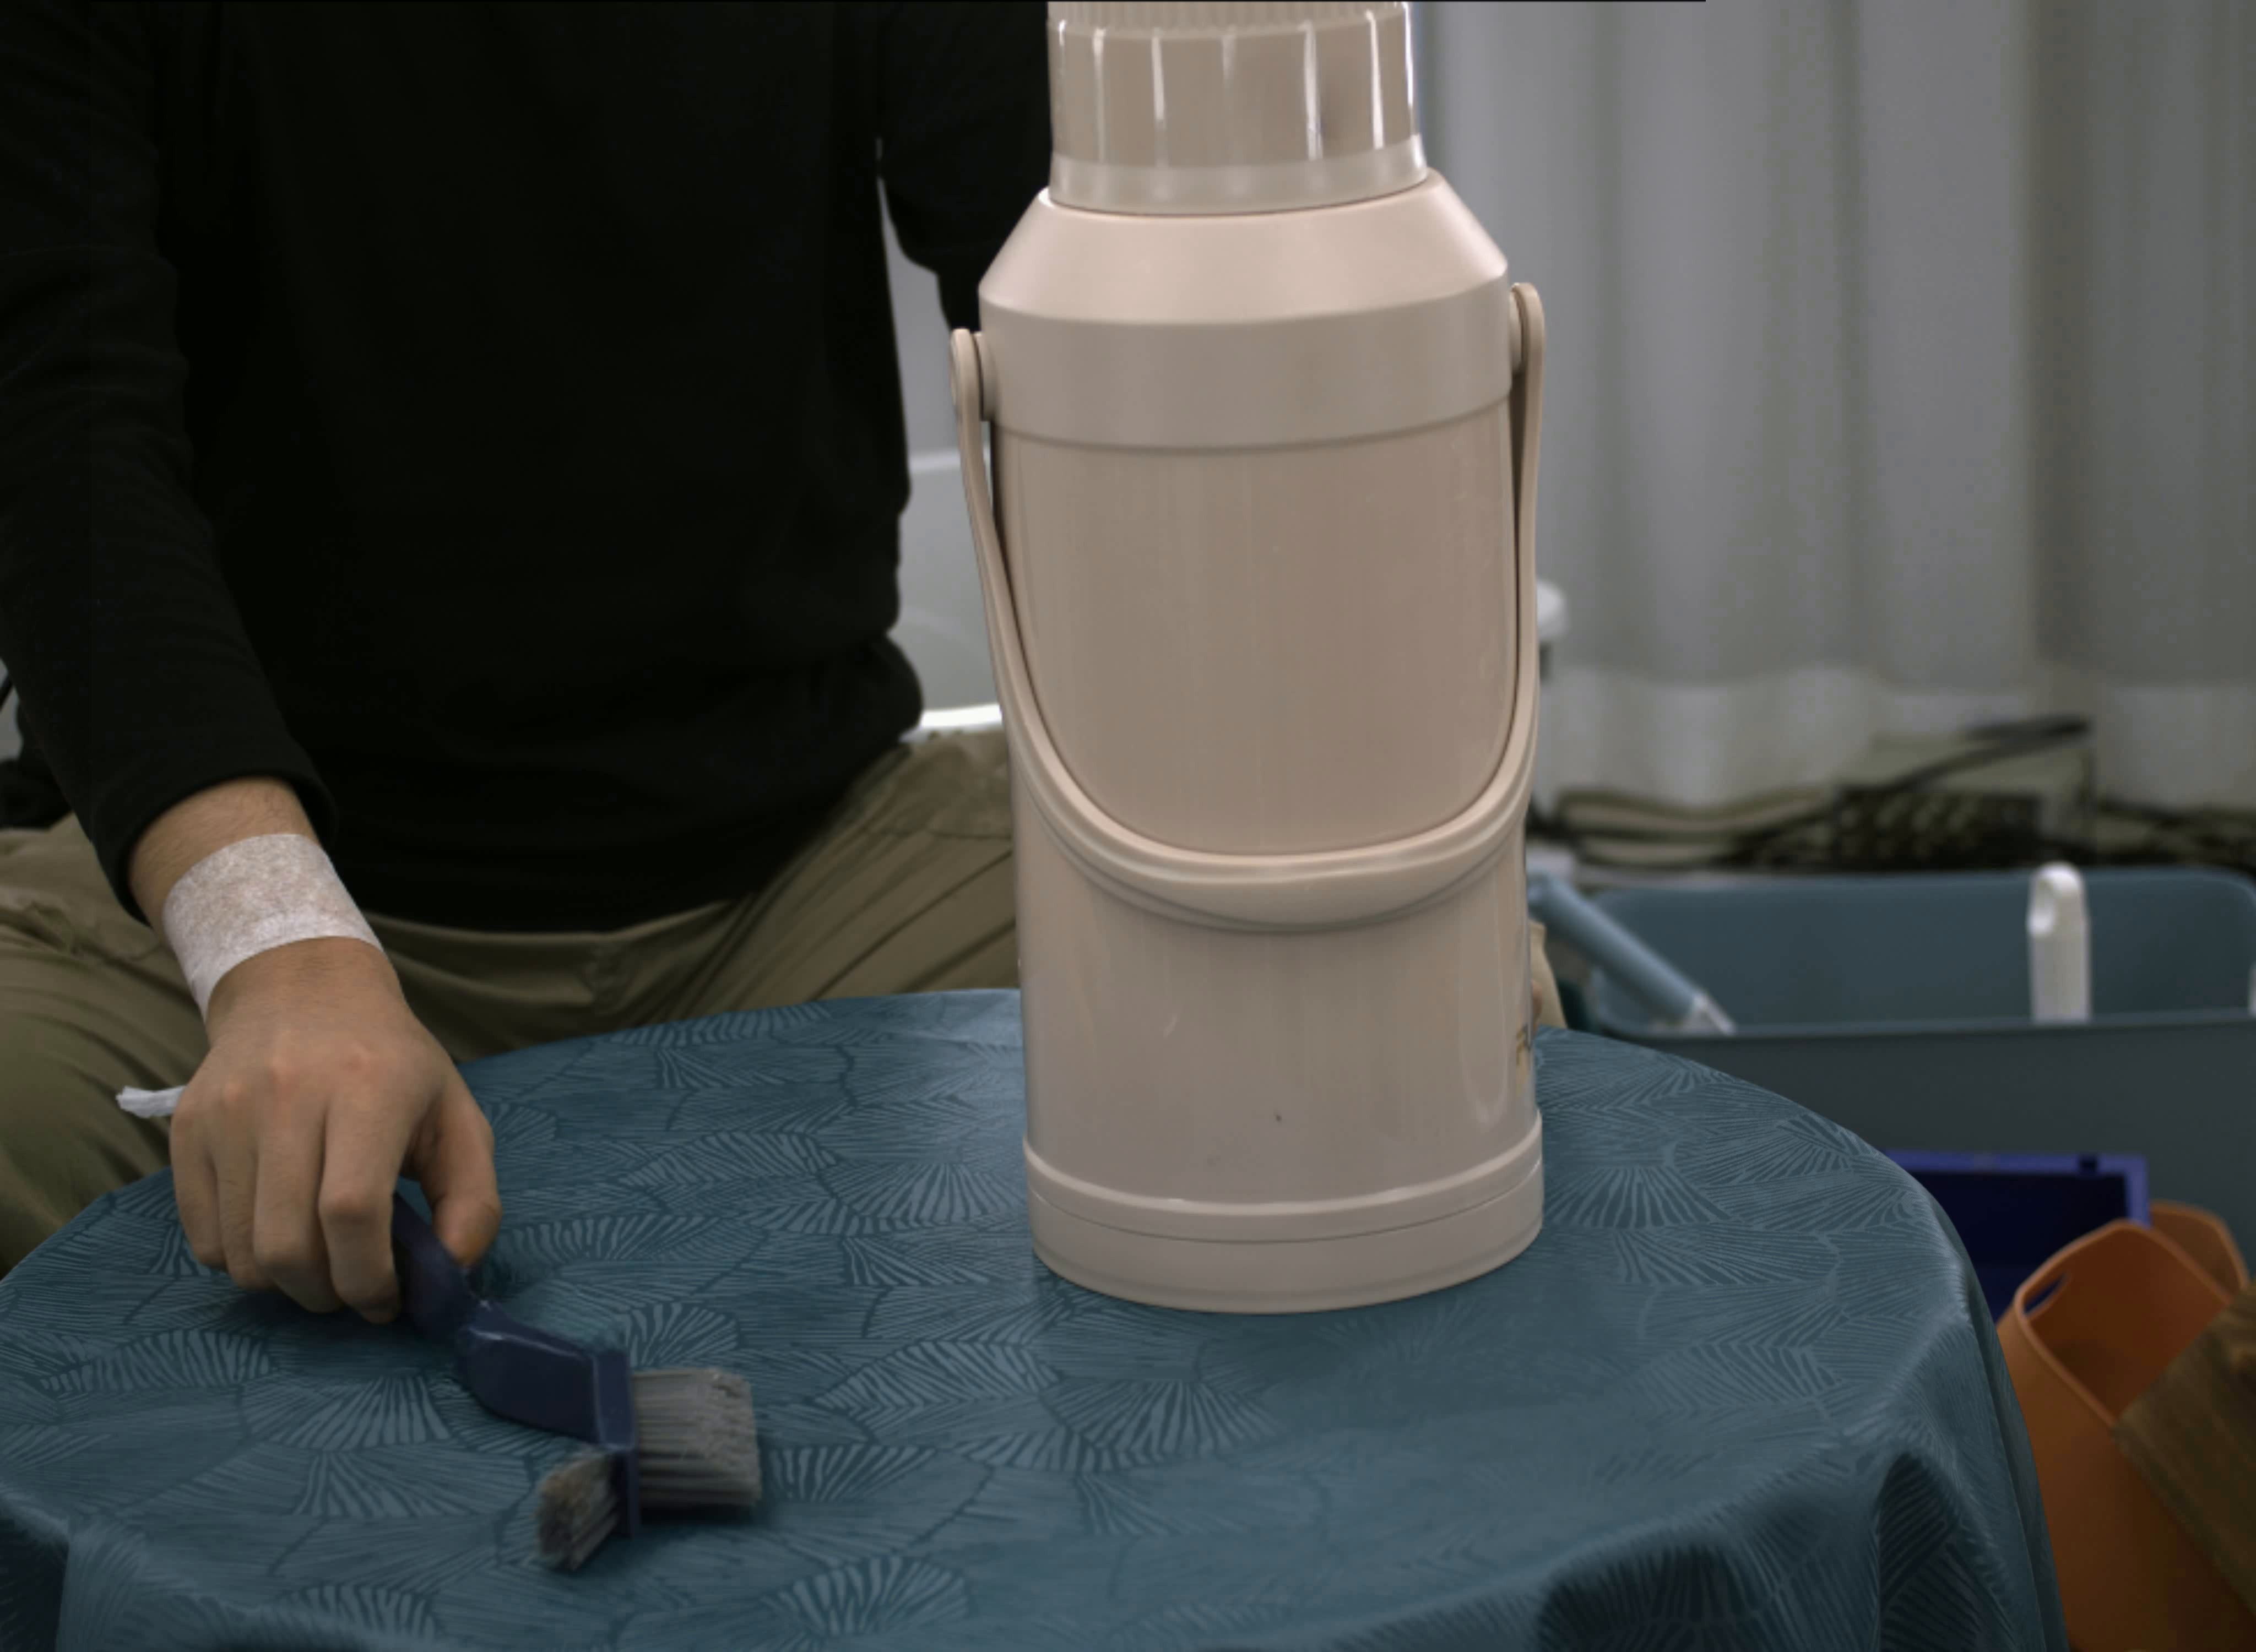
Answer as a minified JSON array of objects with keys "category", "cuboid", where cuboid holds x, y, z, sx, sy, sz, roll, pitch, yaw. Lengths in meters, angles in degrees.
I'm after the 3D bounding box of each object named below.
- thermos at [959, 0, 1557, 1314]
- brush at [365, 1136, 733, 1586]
[{"category":"thermos","cuboid":[0.040,-0.072,1.643,0.174,0.405,0.208,-7,14,-9]},{"category":"brush","cuboid":[-0.189,0.148,1.560,0.095,0.033,0.275,-10,19,-29]}]
